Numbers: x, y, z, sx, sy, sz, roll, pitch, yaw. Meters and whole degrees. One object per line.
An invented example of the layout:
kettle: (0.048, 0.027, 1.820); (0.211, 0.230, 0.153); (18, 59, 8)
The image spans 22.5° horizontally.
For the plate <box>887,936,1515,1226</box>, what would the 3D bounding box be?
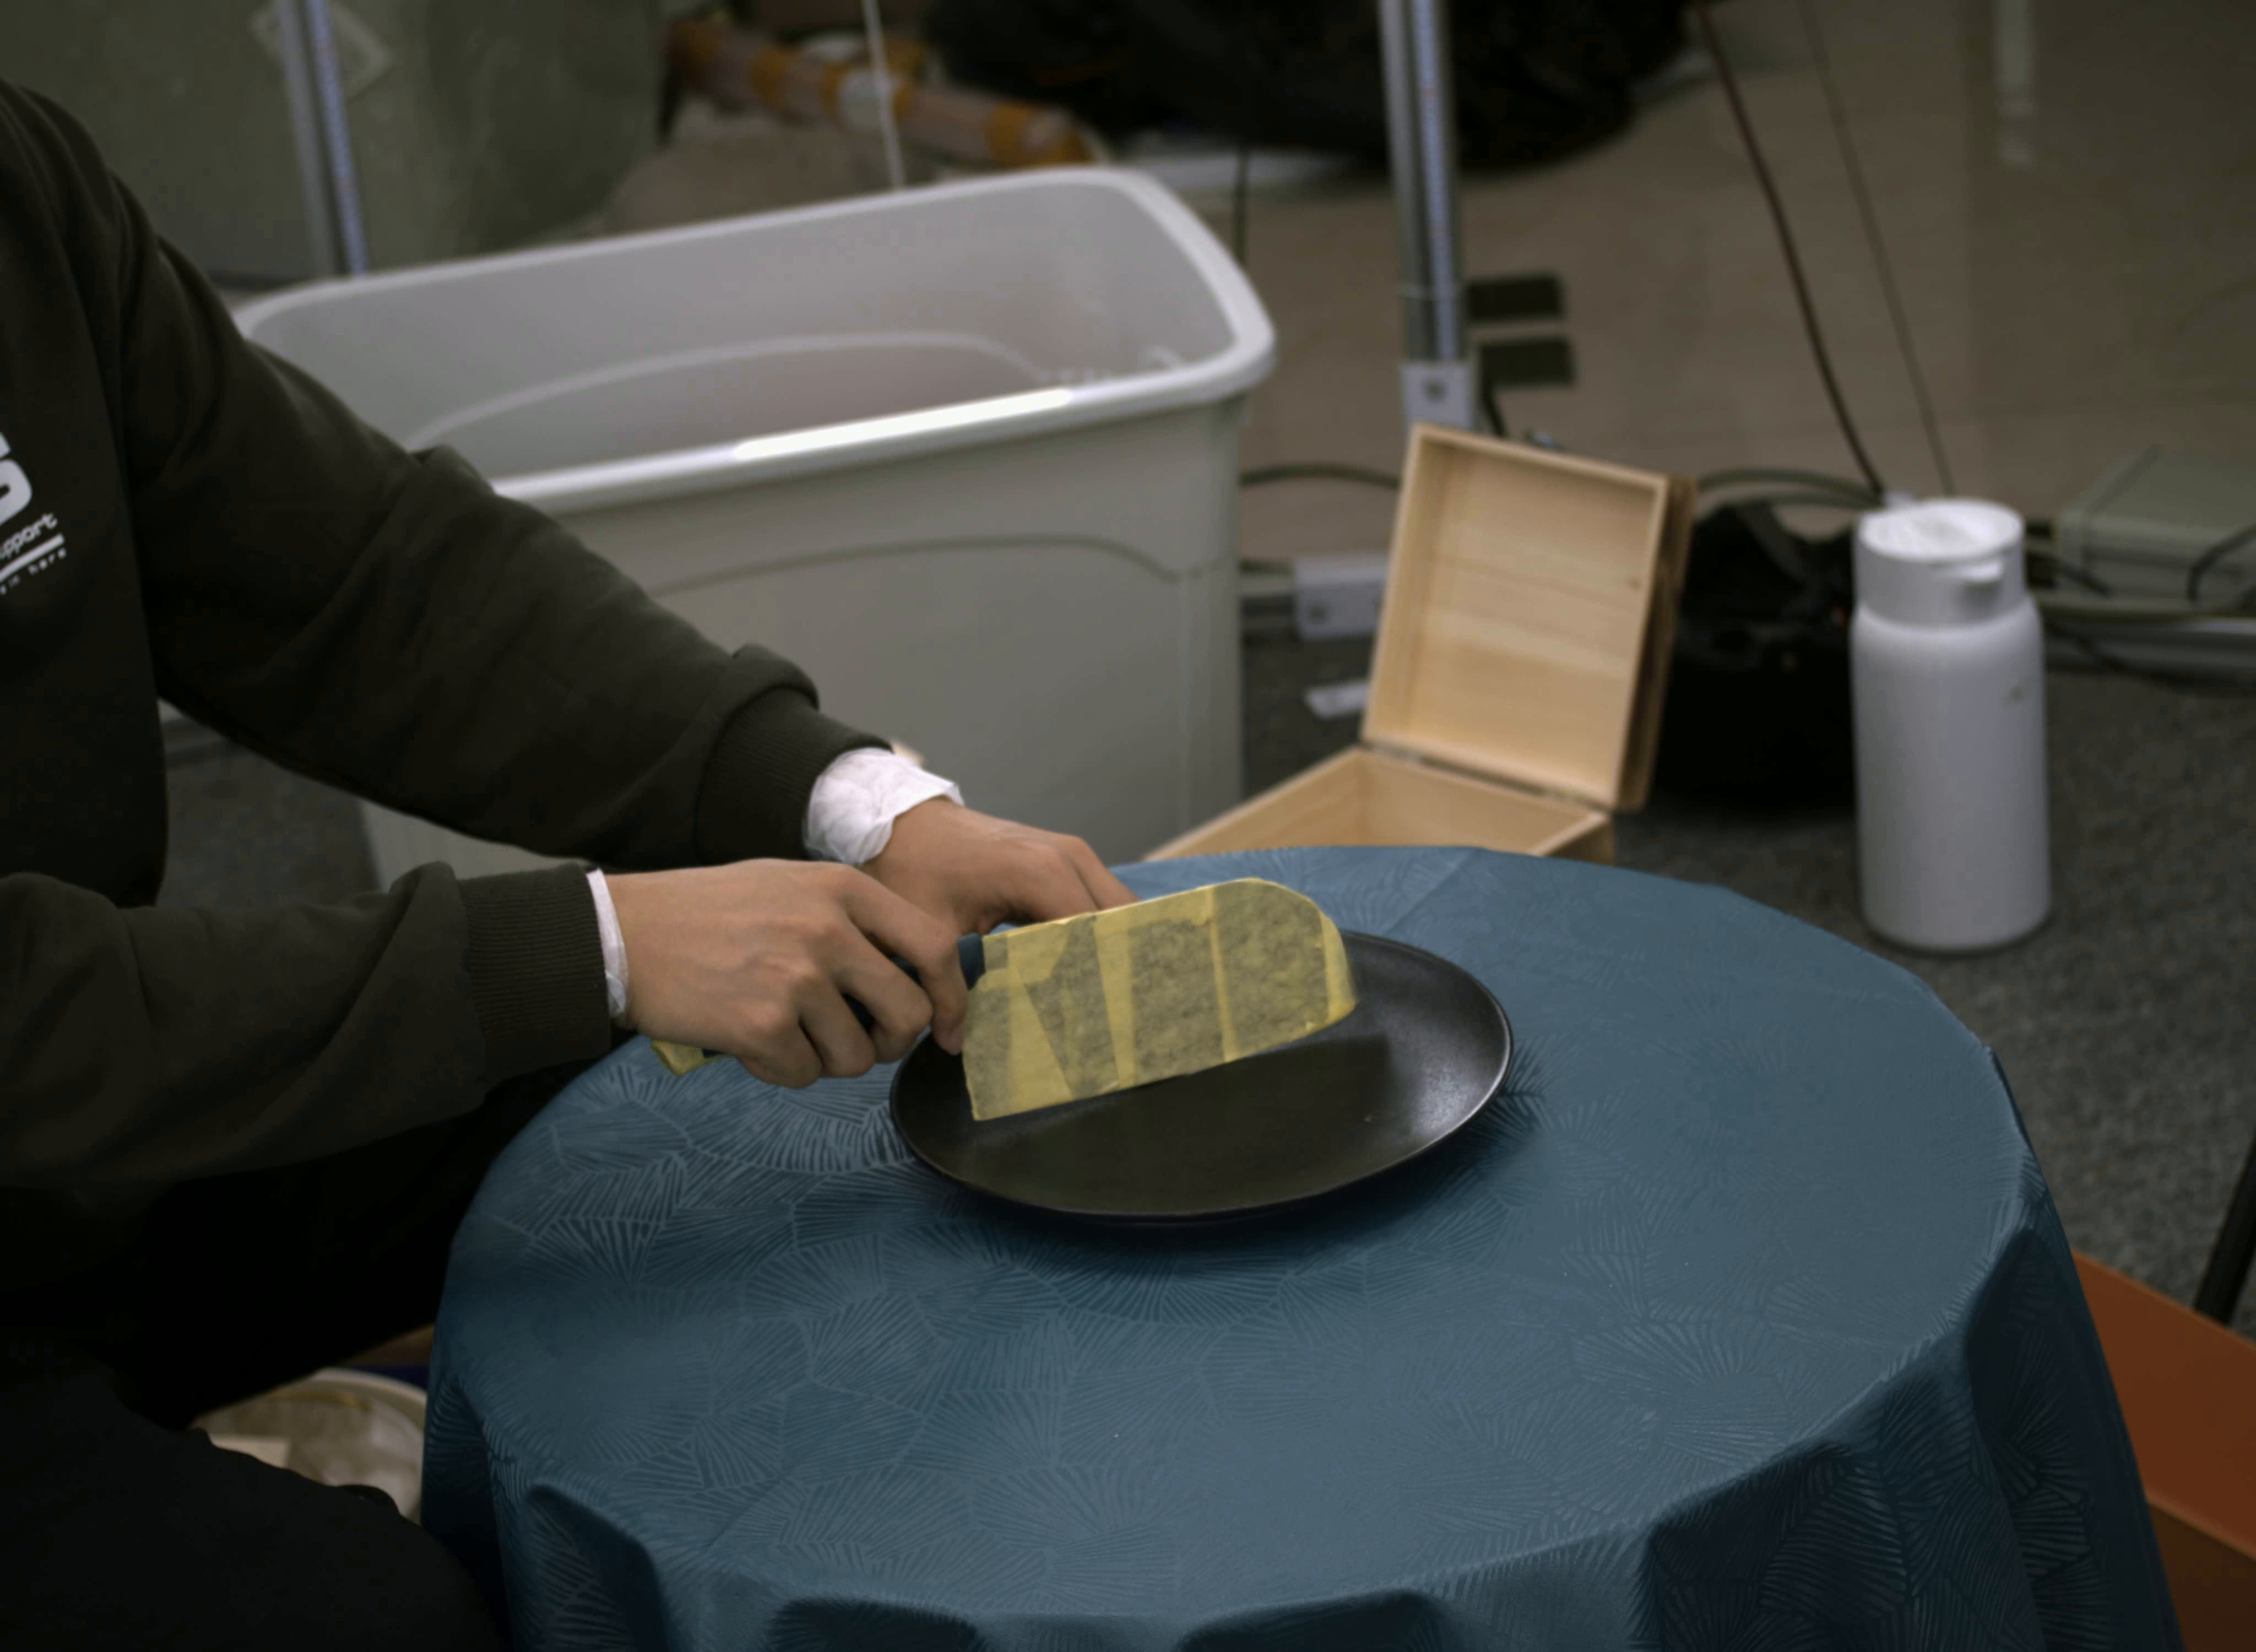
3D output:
plate: (0.029, 0.102, 2.197); (0.244, 0.024, 0.241); (-5, 24, 3)

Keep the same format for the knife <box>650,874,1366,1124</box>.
knife: (-0.043, 0.073, 2.187); (0.289, 0.082, 0.027); (-9, 14, -16)
